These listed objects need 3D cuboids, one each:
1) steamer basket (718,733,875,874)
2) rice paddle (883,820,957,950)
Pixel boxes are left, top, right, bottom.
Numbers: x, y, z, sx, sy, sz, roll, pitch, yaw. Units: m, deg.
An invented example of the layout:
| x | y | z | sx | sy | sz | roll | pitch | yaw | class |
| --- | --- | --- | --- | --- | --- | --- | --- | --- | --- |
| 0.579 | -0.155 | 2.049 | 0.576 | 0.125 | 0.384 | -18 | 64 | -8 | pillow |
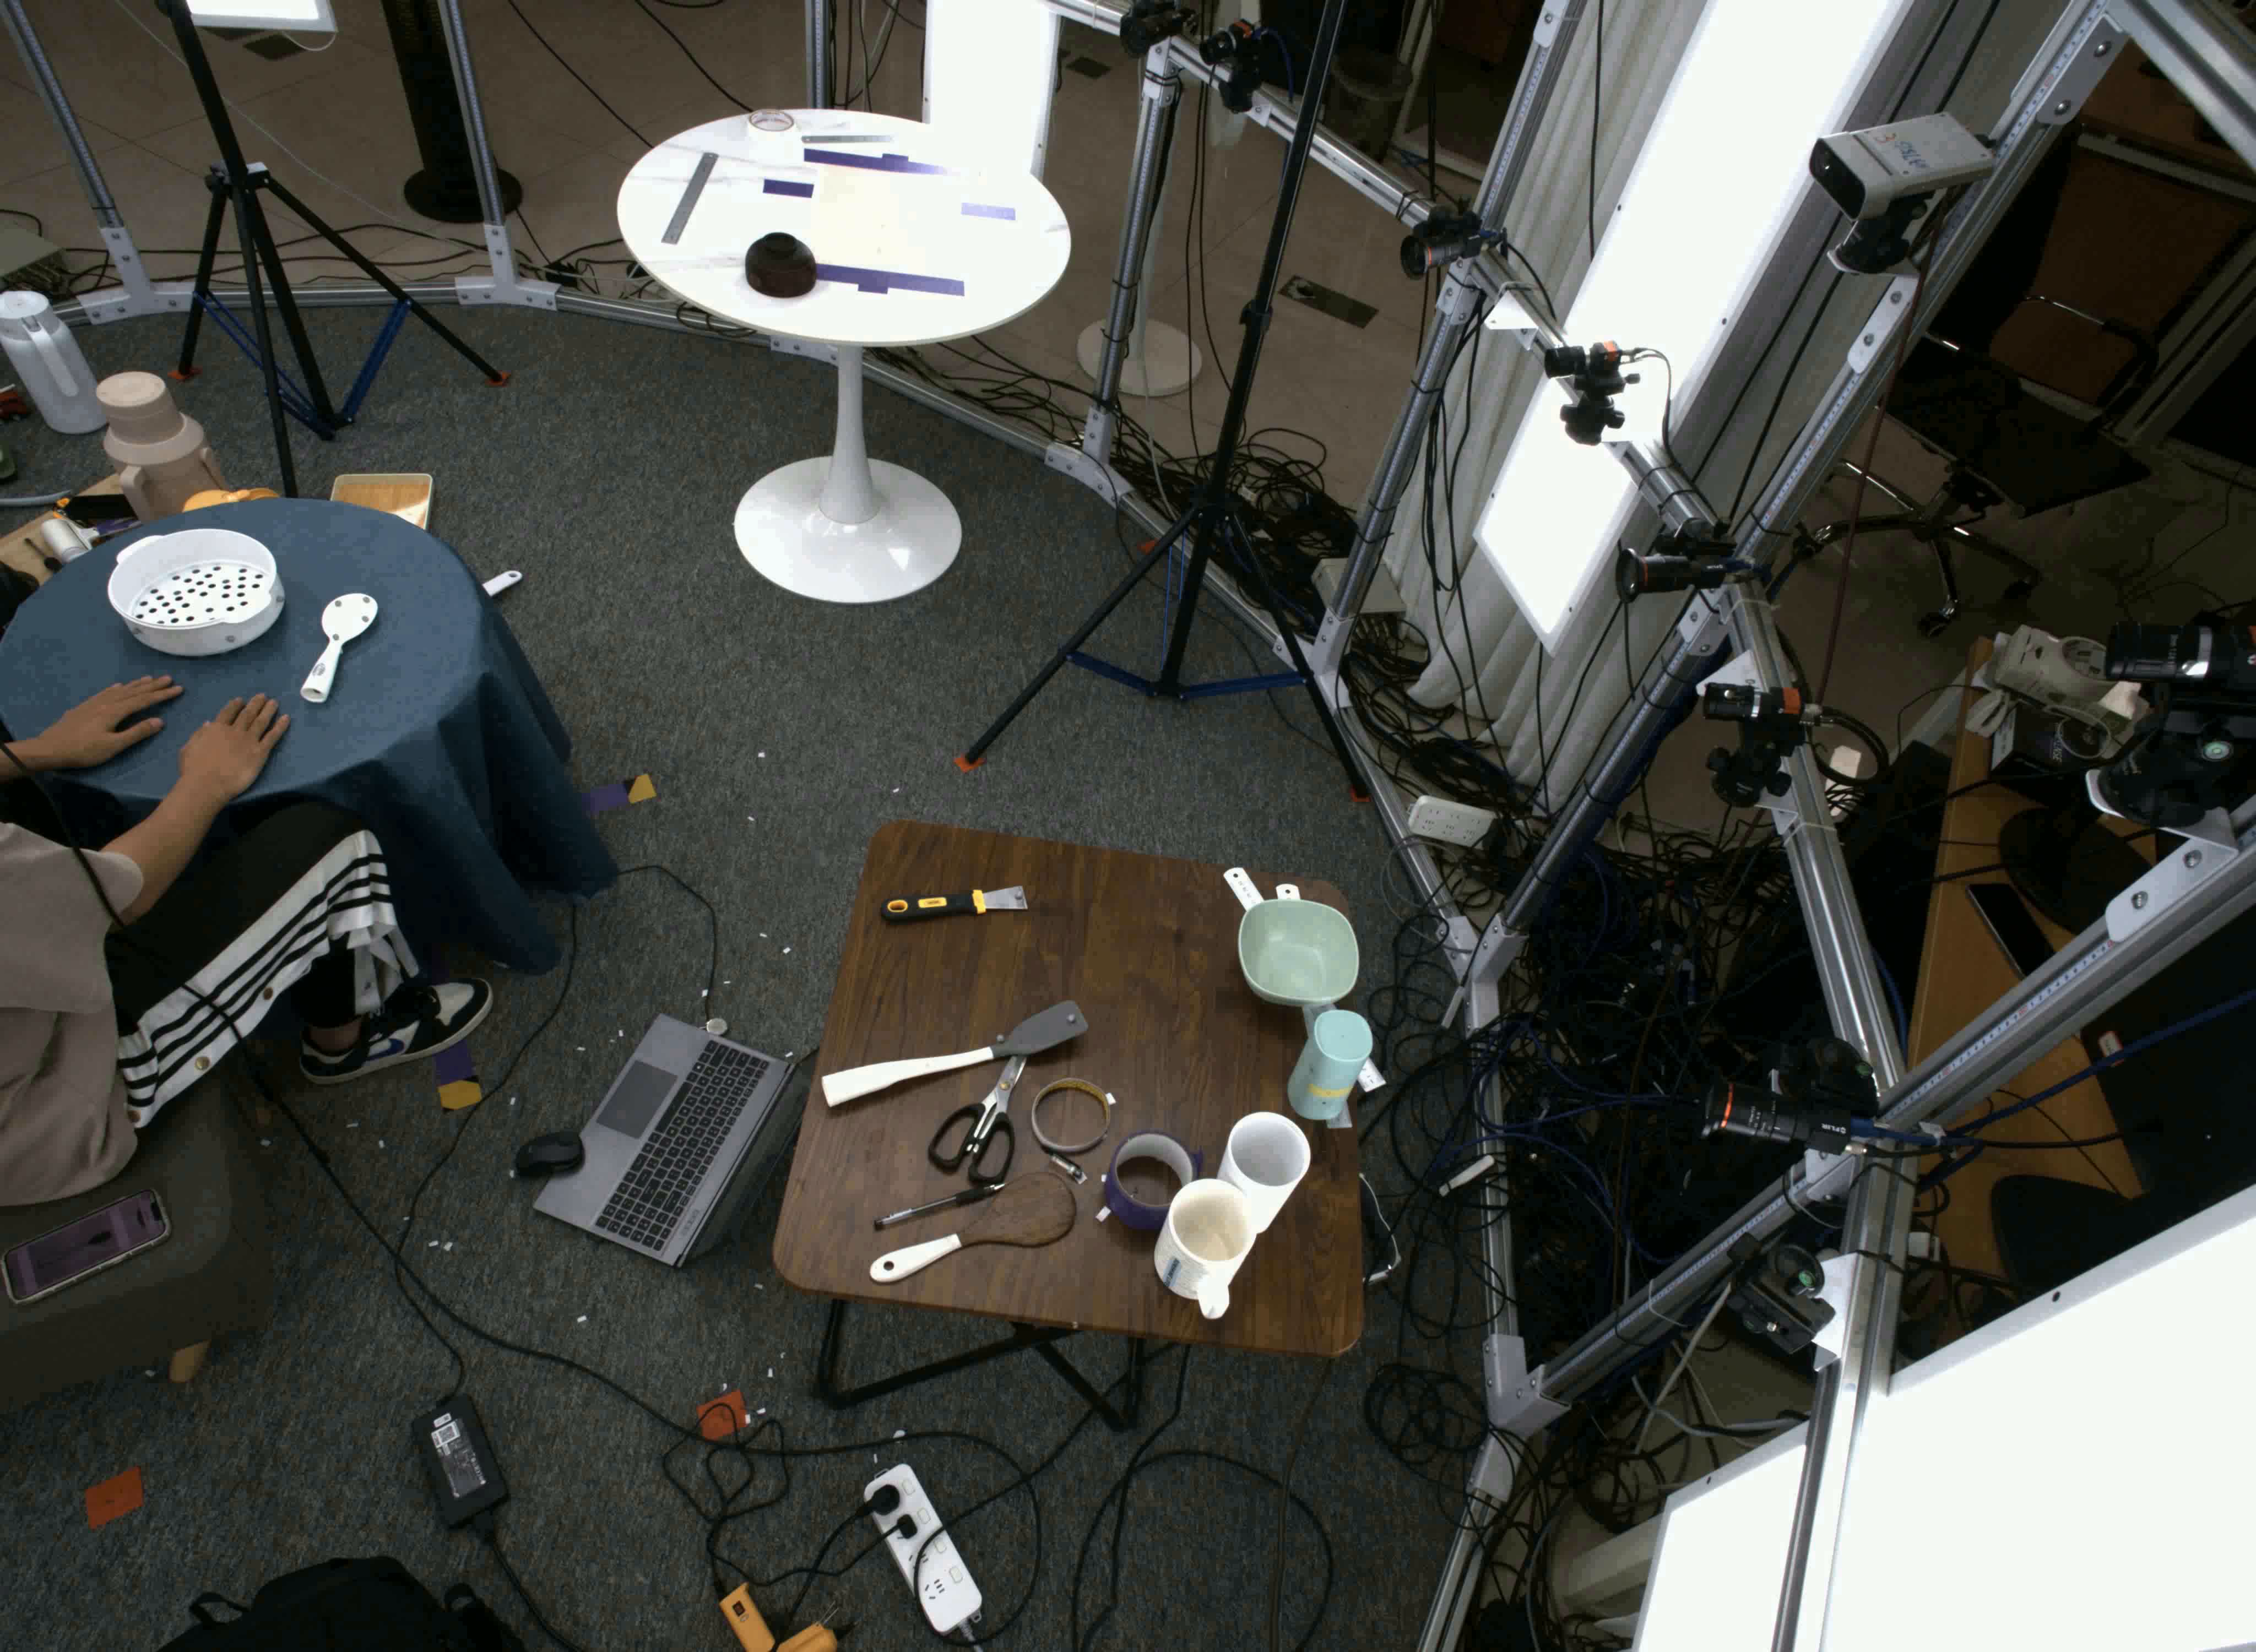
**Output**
| x | y | z | sx | sy | sz | roll | pitch | yaw | class |
| --- | --- | --- | --- | --- | --- | --- | --- | --- | --- |
| -0.436 | -0.029 | 1.712 | 0.225 | 0.071 | 0.202 | 39 | 54 | 18 | steamer basket |
| -0.275 | 0.068 | 1.700 | 0.068 | 0.030 | 0.202 | 16 | 52 | -2 | rice paddle |
